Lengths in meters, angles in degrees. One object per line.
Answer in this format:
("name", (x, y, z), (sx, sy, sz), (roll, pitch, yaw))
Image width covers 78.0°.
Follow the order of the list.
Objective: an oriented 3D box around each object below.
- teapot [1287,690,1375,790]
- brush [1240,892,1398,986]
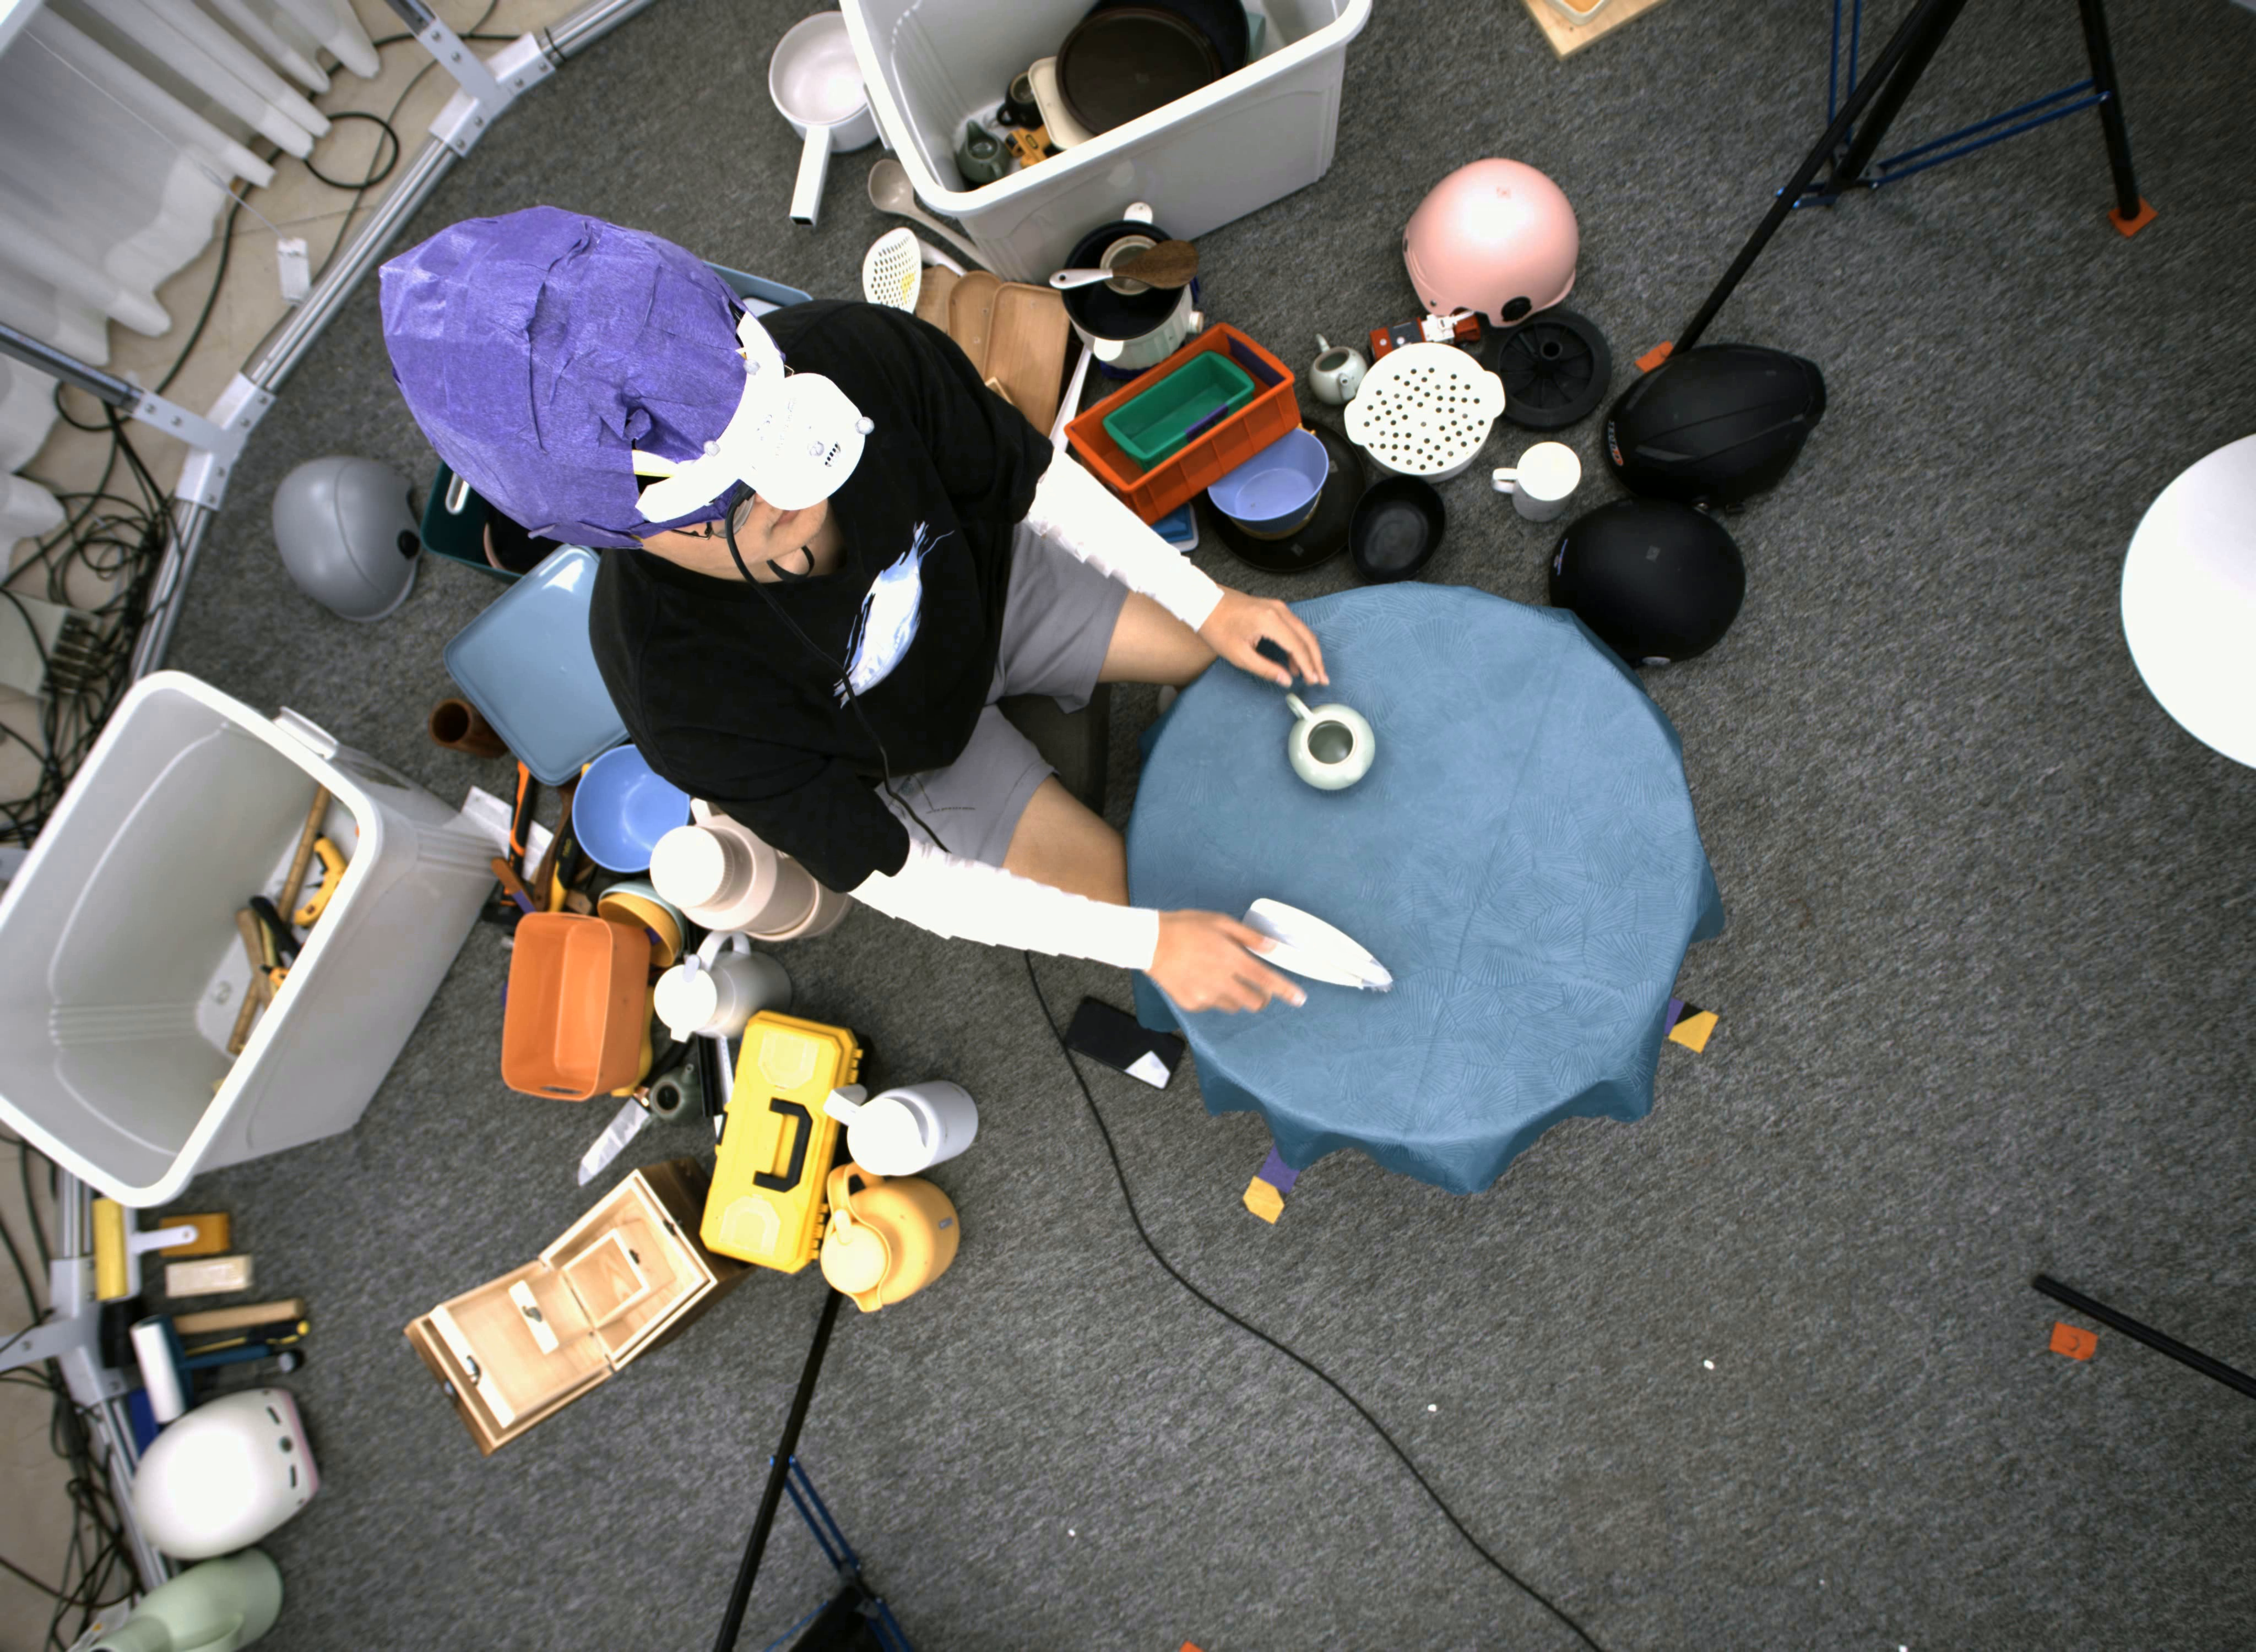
("teapot", (0.208, -0.092, 1.449), (0.092, 0.061, 0.128), (-37, 80, 8))
("brush", (0.197, 0.124, 1.423), (0.175, 0.094, 0.061), (24, 93, 10))
